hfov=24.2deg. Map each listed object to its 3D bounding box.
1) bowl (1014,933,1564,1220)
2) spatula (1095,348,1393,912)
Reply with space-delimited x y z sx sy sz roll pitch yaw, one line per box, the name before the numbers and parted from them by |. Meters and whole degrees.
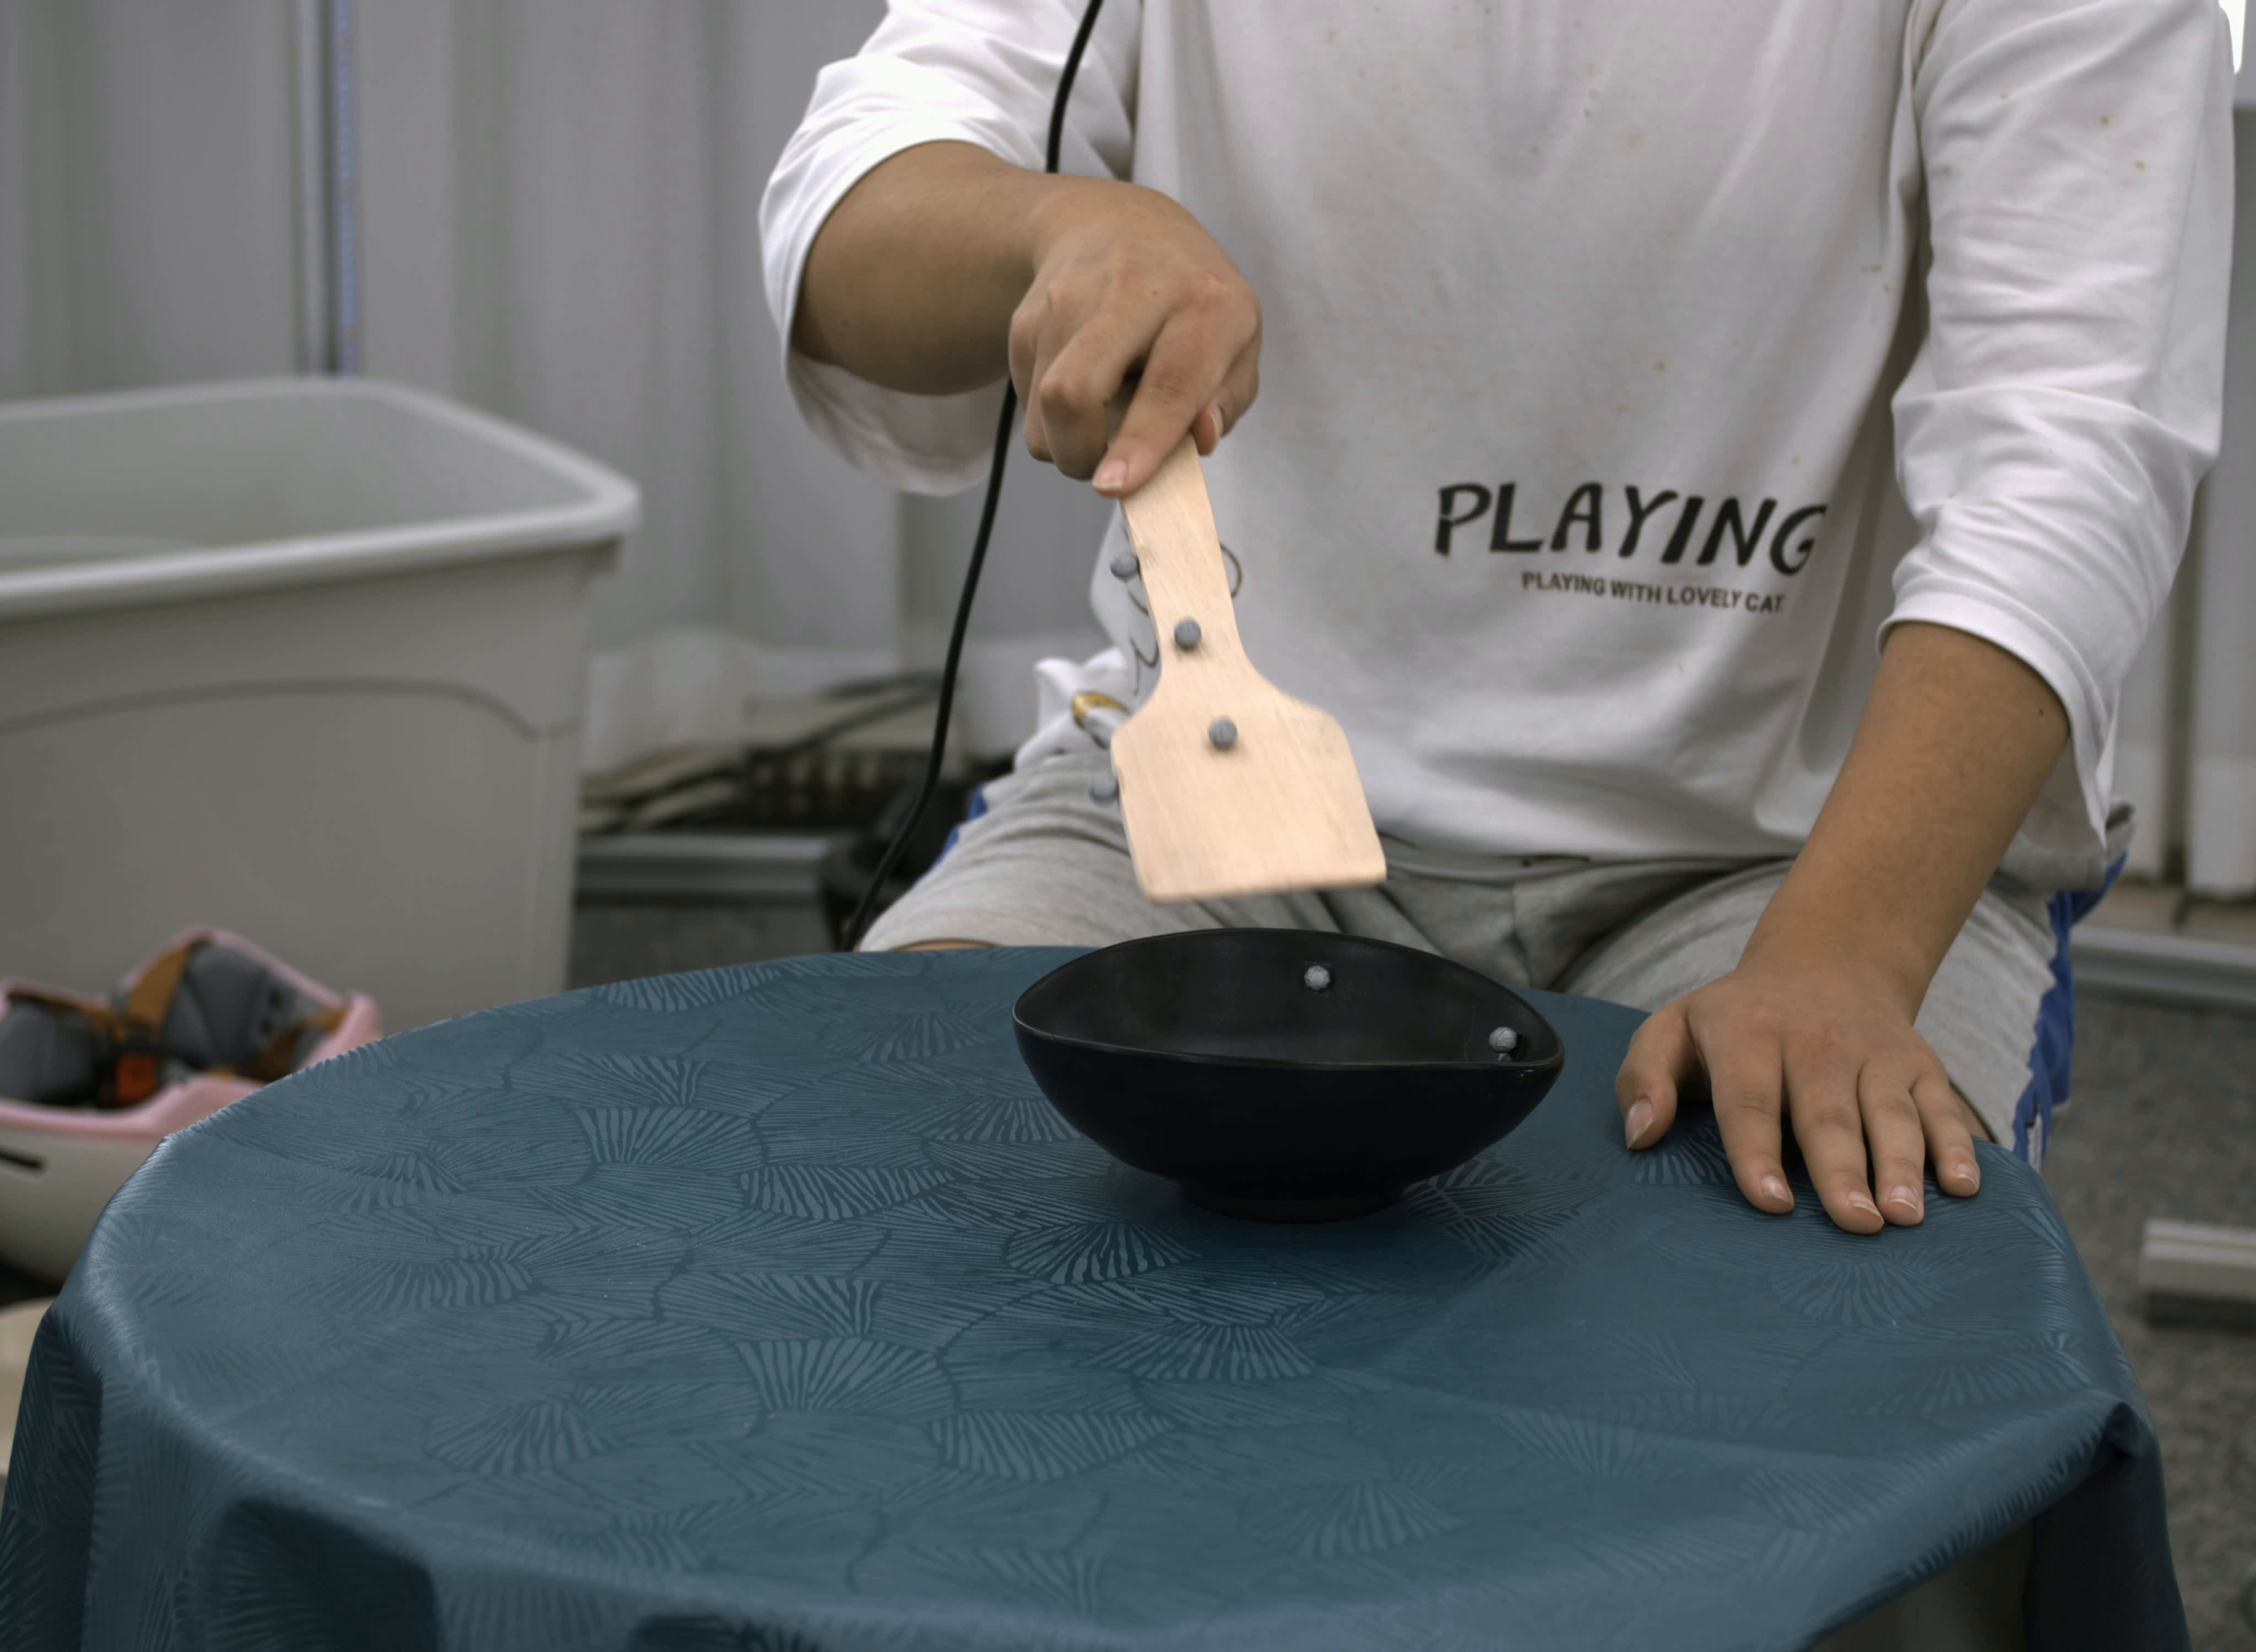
bowl | 0.049 0.081 1.627 0.170 0.067 0.136 3 15 0
spatula | 0.020 -0.064 1.585 0.072 0.011 0.290 -5 38 -7
